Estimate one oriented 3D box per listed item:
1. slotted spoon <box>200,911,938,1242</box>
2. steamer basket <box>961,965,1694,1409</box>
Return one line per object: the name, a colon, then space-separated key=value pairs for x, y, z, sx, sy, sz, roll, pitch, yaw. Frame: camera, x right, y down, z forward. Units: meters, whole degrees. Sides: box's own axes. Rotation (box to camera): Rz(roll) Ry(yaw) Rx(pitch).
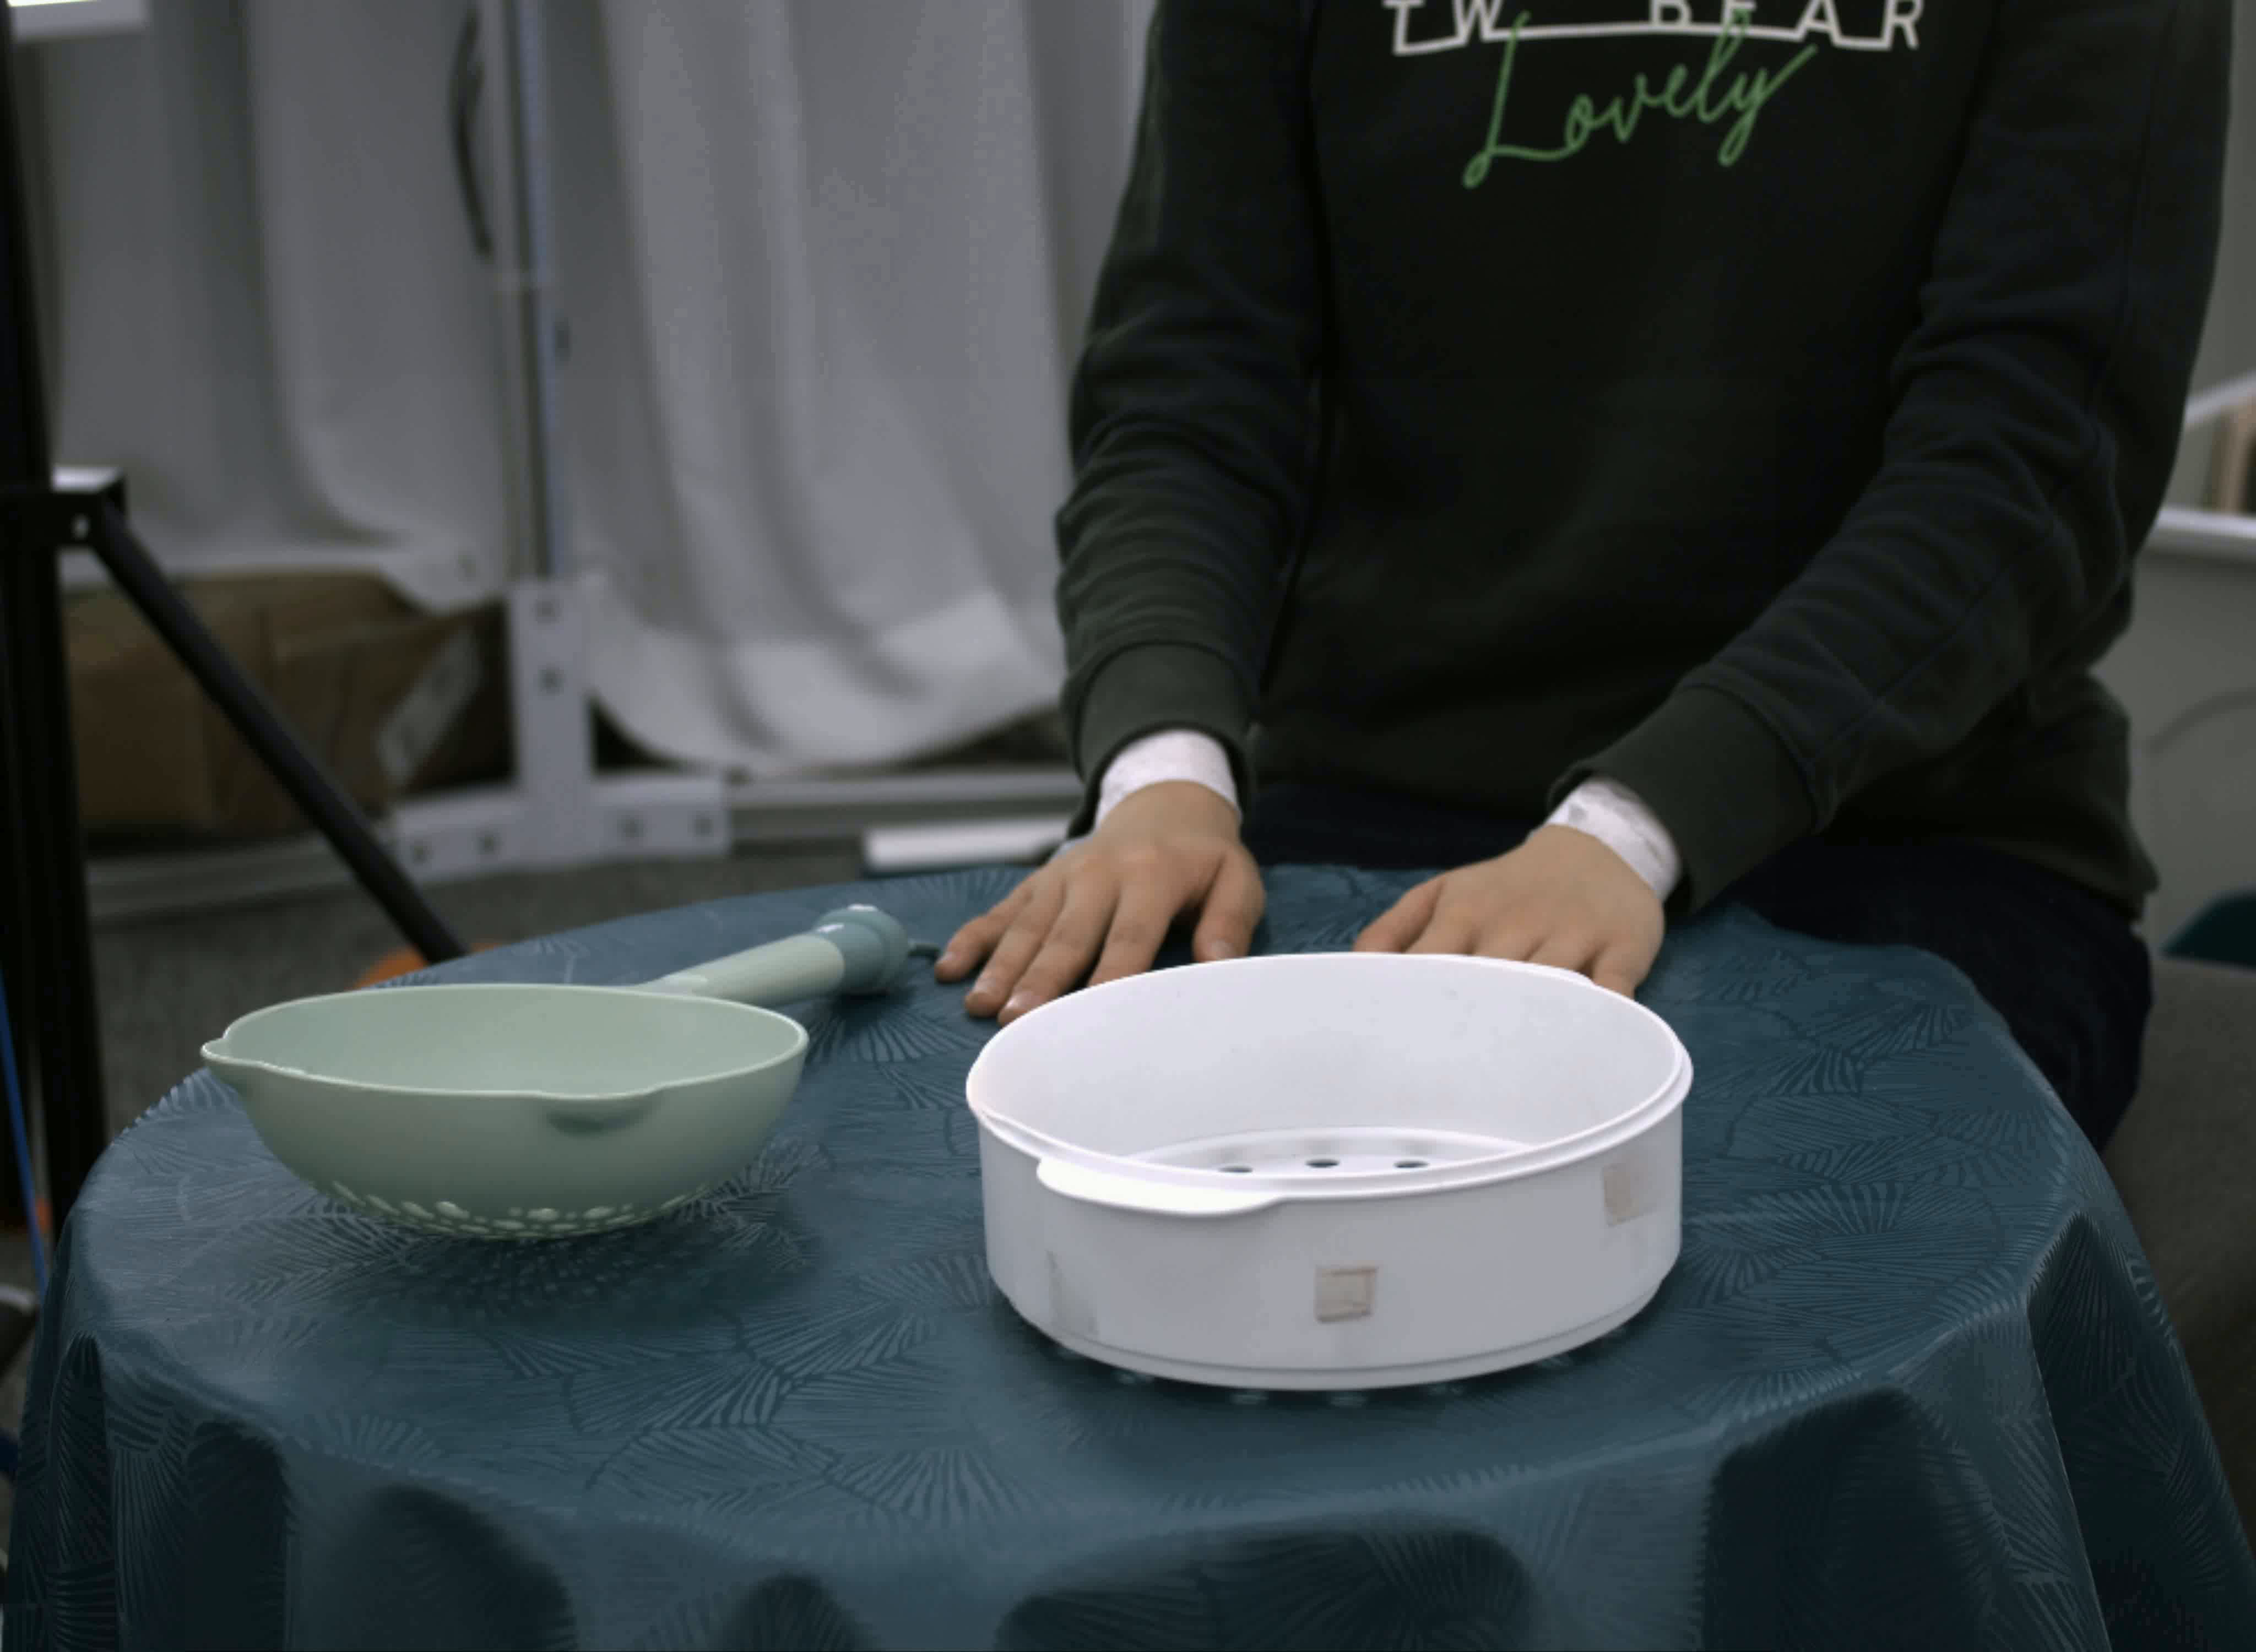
slotted spoon: x=-0.139 y=0.061 z=1.632 sx=0.171 sy=0.075 sz=0.354 roll=5 pitch=17 yaw=23
steamer basket: x=0.055 y=0.099 z=1.464 sx=0.205 sy=0.069 sz=0.226 roll=8 pitch=18 yaw=29
